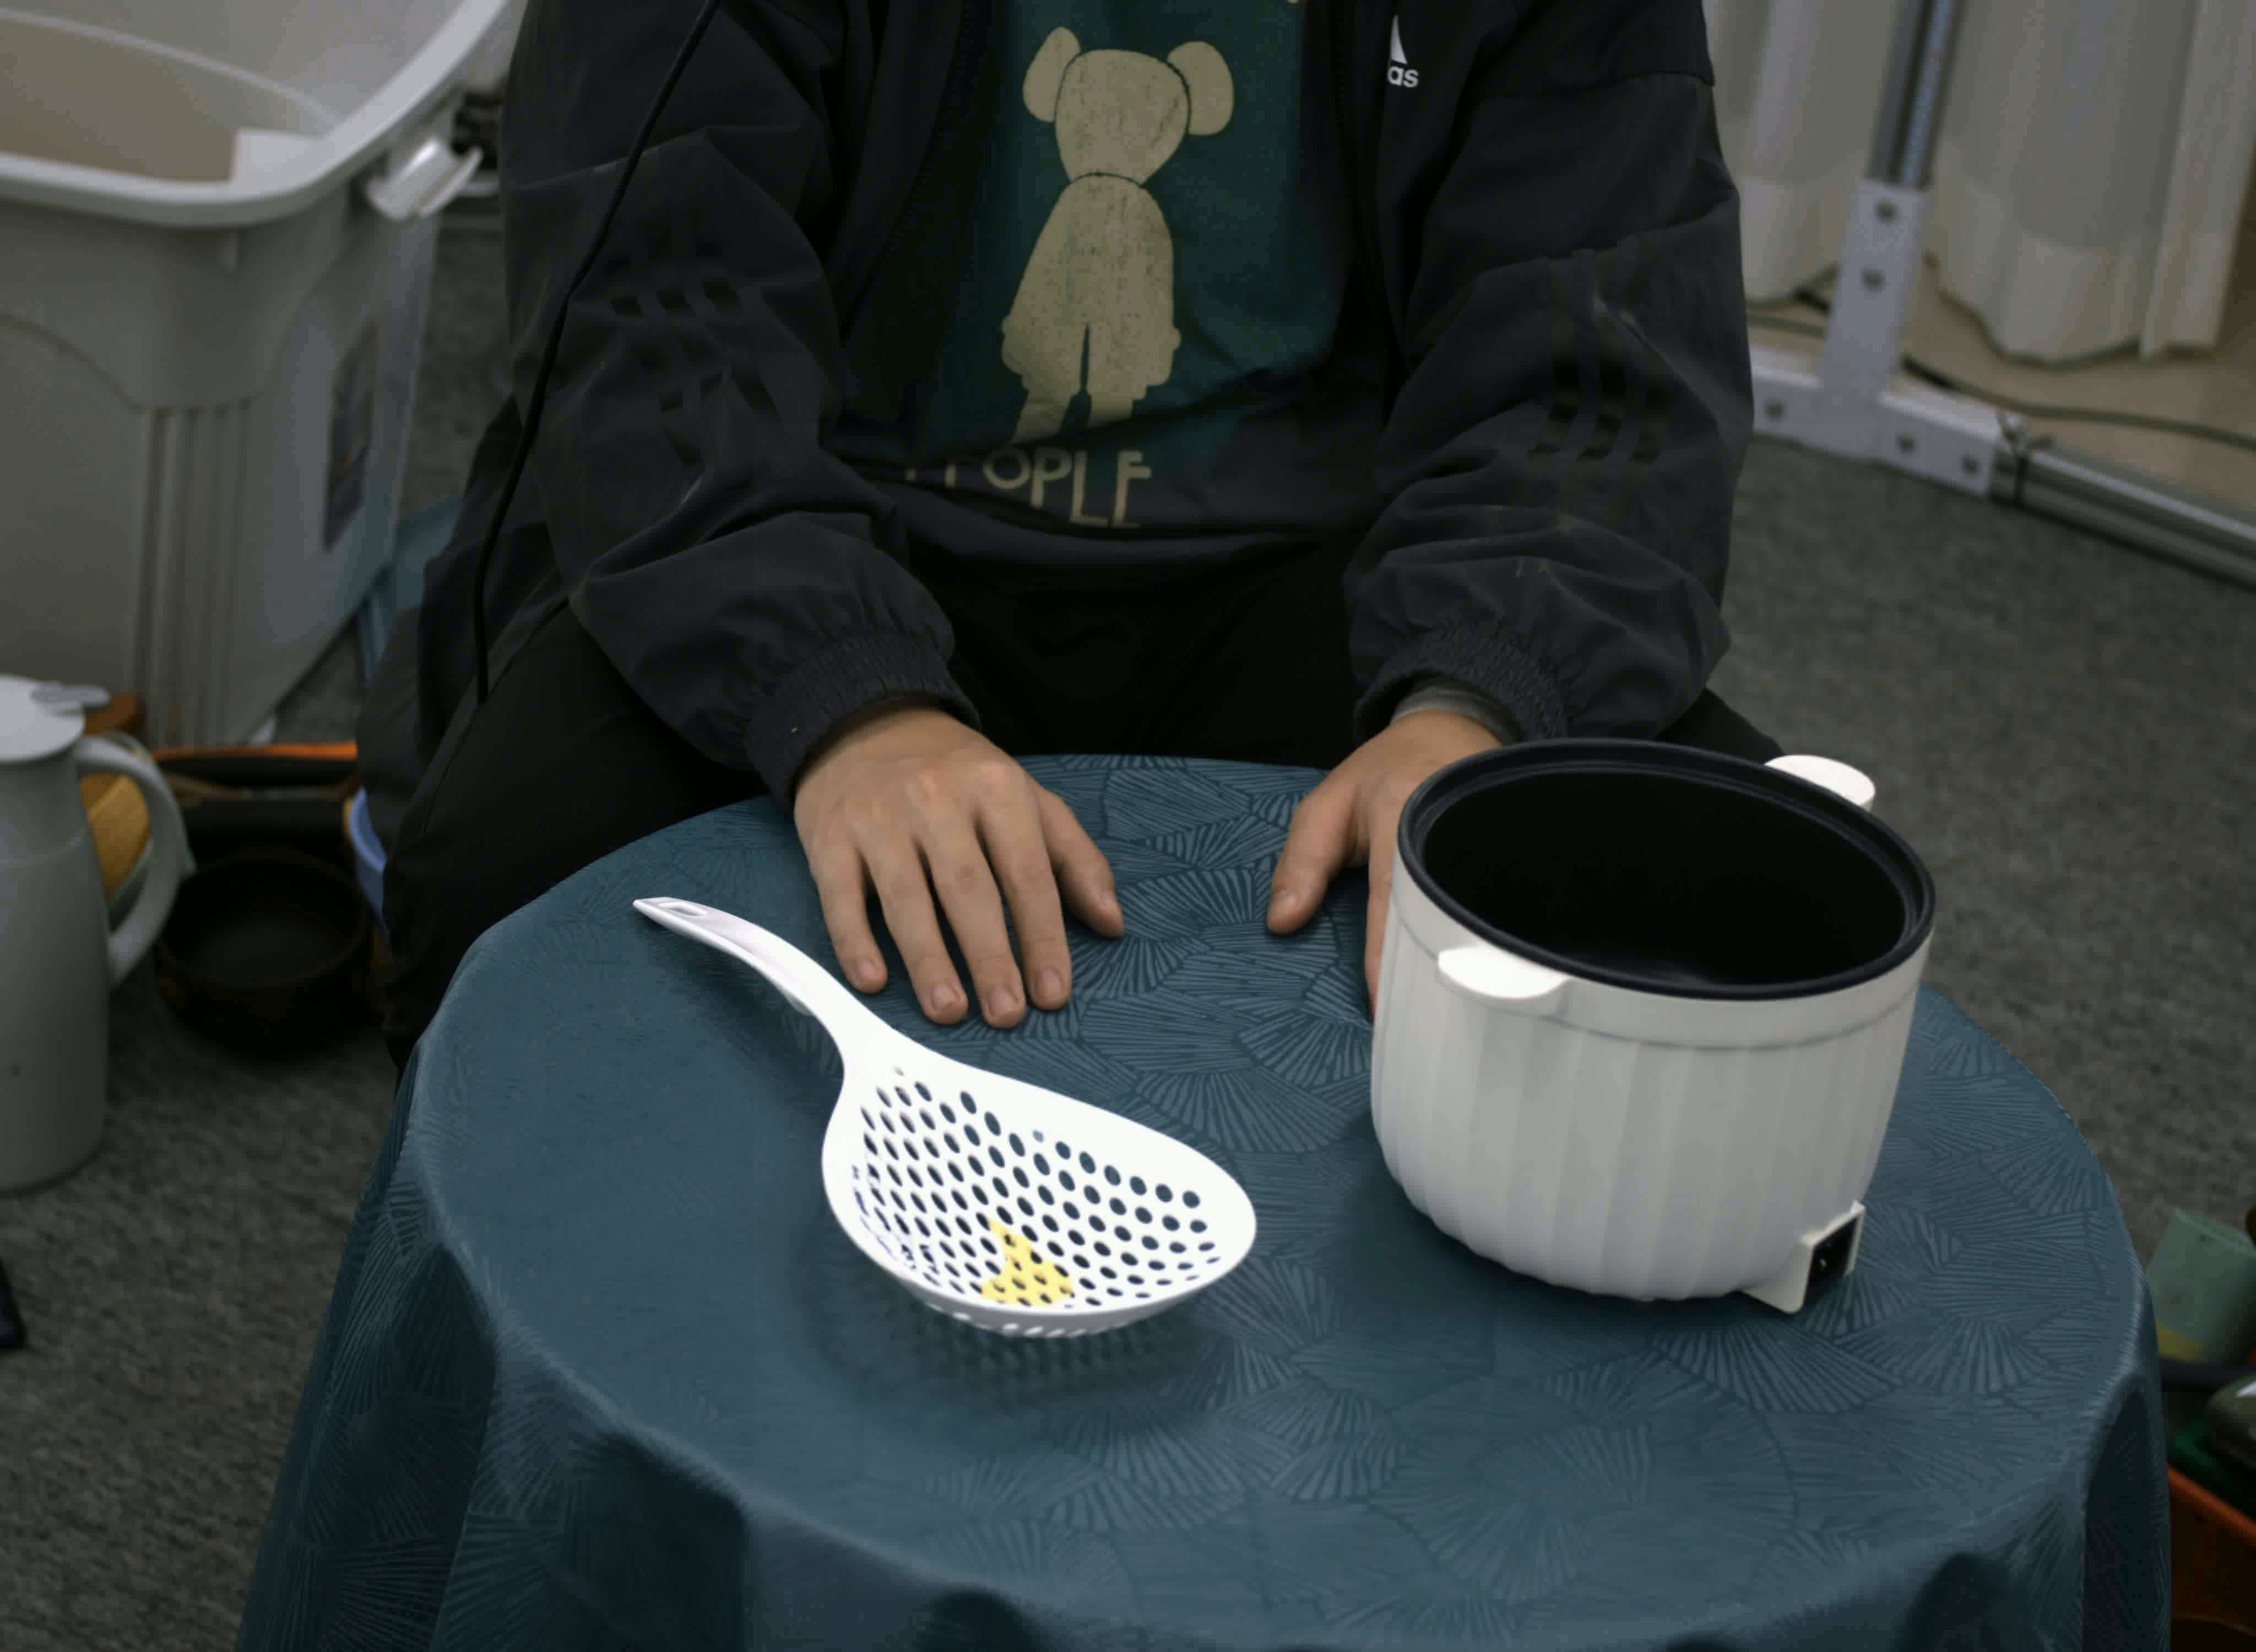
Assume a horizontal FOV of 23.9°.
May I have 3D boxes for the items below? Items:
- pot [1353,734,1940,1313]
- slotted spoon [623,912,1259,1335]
[{"bbox_3d":[0.167,0.068,1.800,0.191,0.142,0.239,26,31,29],"label":"pot"},{"bbox_3d":[-0.084,0.088,1.809,0.136,0.050,0.351,-12,32,-28],"label":"slotted spoon"}]
